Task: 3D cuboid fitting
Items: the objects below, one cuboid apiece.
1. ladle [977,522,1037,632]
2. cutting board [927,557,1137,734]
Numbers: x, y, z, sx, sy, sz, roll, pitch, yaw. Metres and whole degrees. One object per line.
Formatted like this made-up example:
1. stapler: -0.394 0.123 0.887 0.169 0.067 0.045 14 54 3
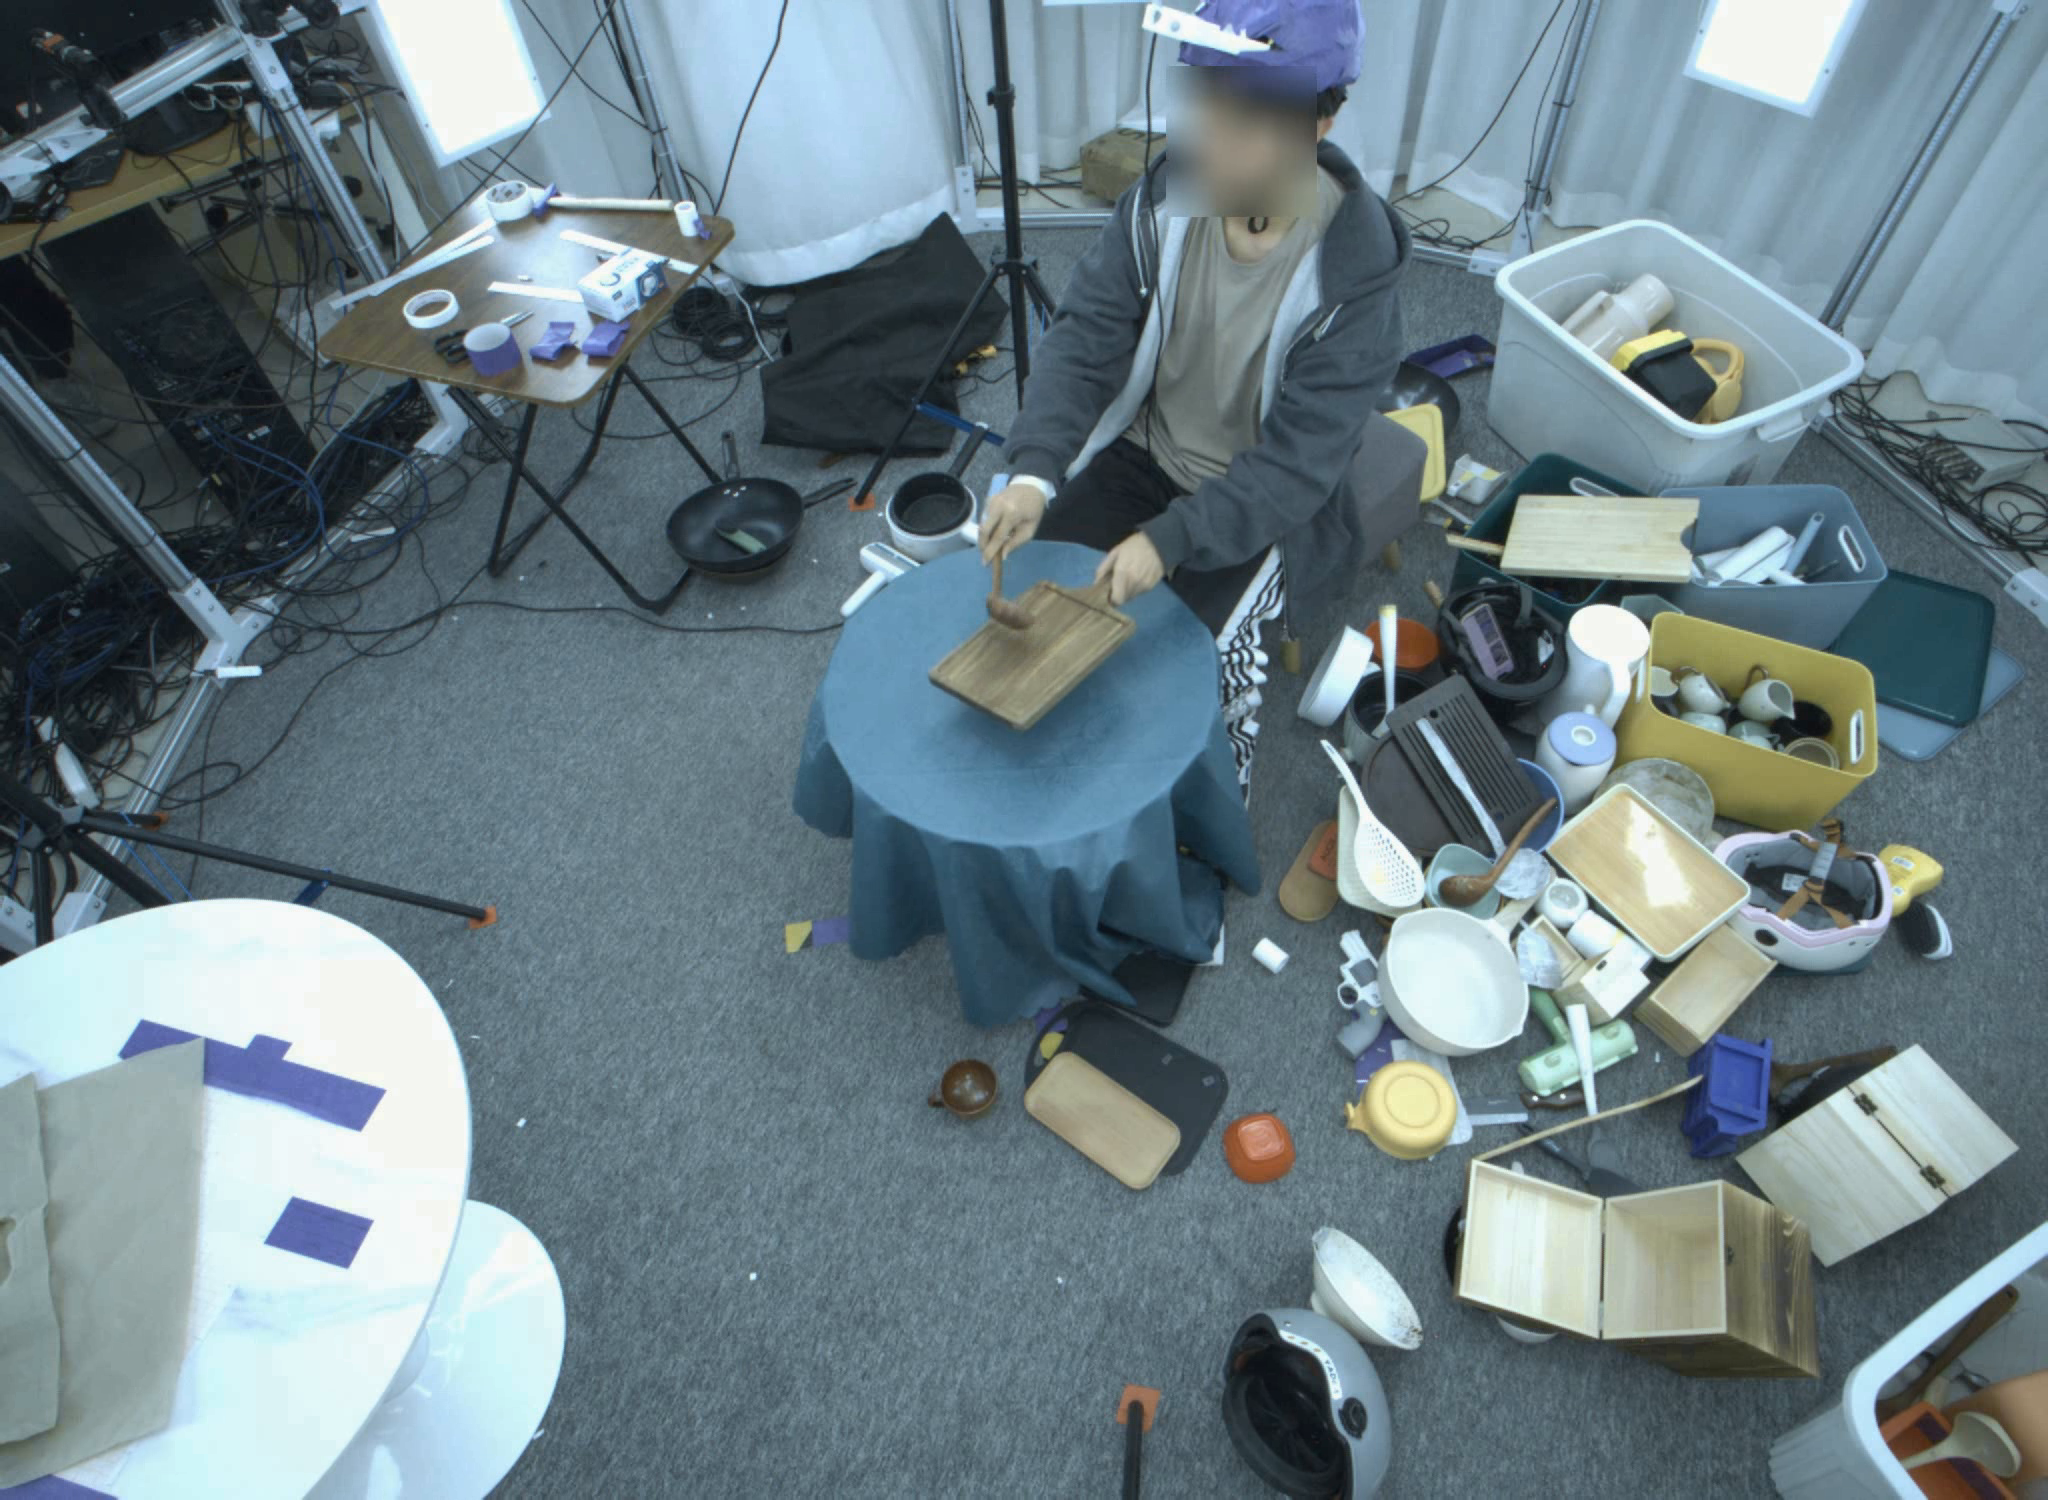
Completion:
1. ladle: -0.031 -0.266 1.800 0.064 0.078 0.256 -36 43 28
2. cutting board: 0.044 -0.173 1.785 0.196 0.023 0.354 30 61 33
